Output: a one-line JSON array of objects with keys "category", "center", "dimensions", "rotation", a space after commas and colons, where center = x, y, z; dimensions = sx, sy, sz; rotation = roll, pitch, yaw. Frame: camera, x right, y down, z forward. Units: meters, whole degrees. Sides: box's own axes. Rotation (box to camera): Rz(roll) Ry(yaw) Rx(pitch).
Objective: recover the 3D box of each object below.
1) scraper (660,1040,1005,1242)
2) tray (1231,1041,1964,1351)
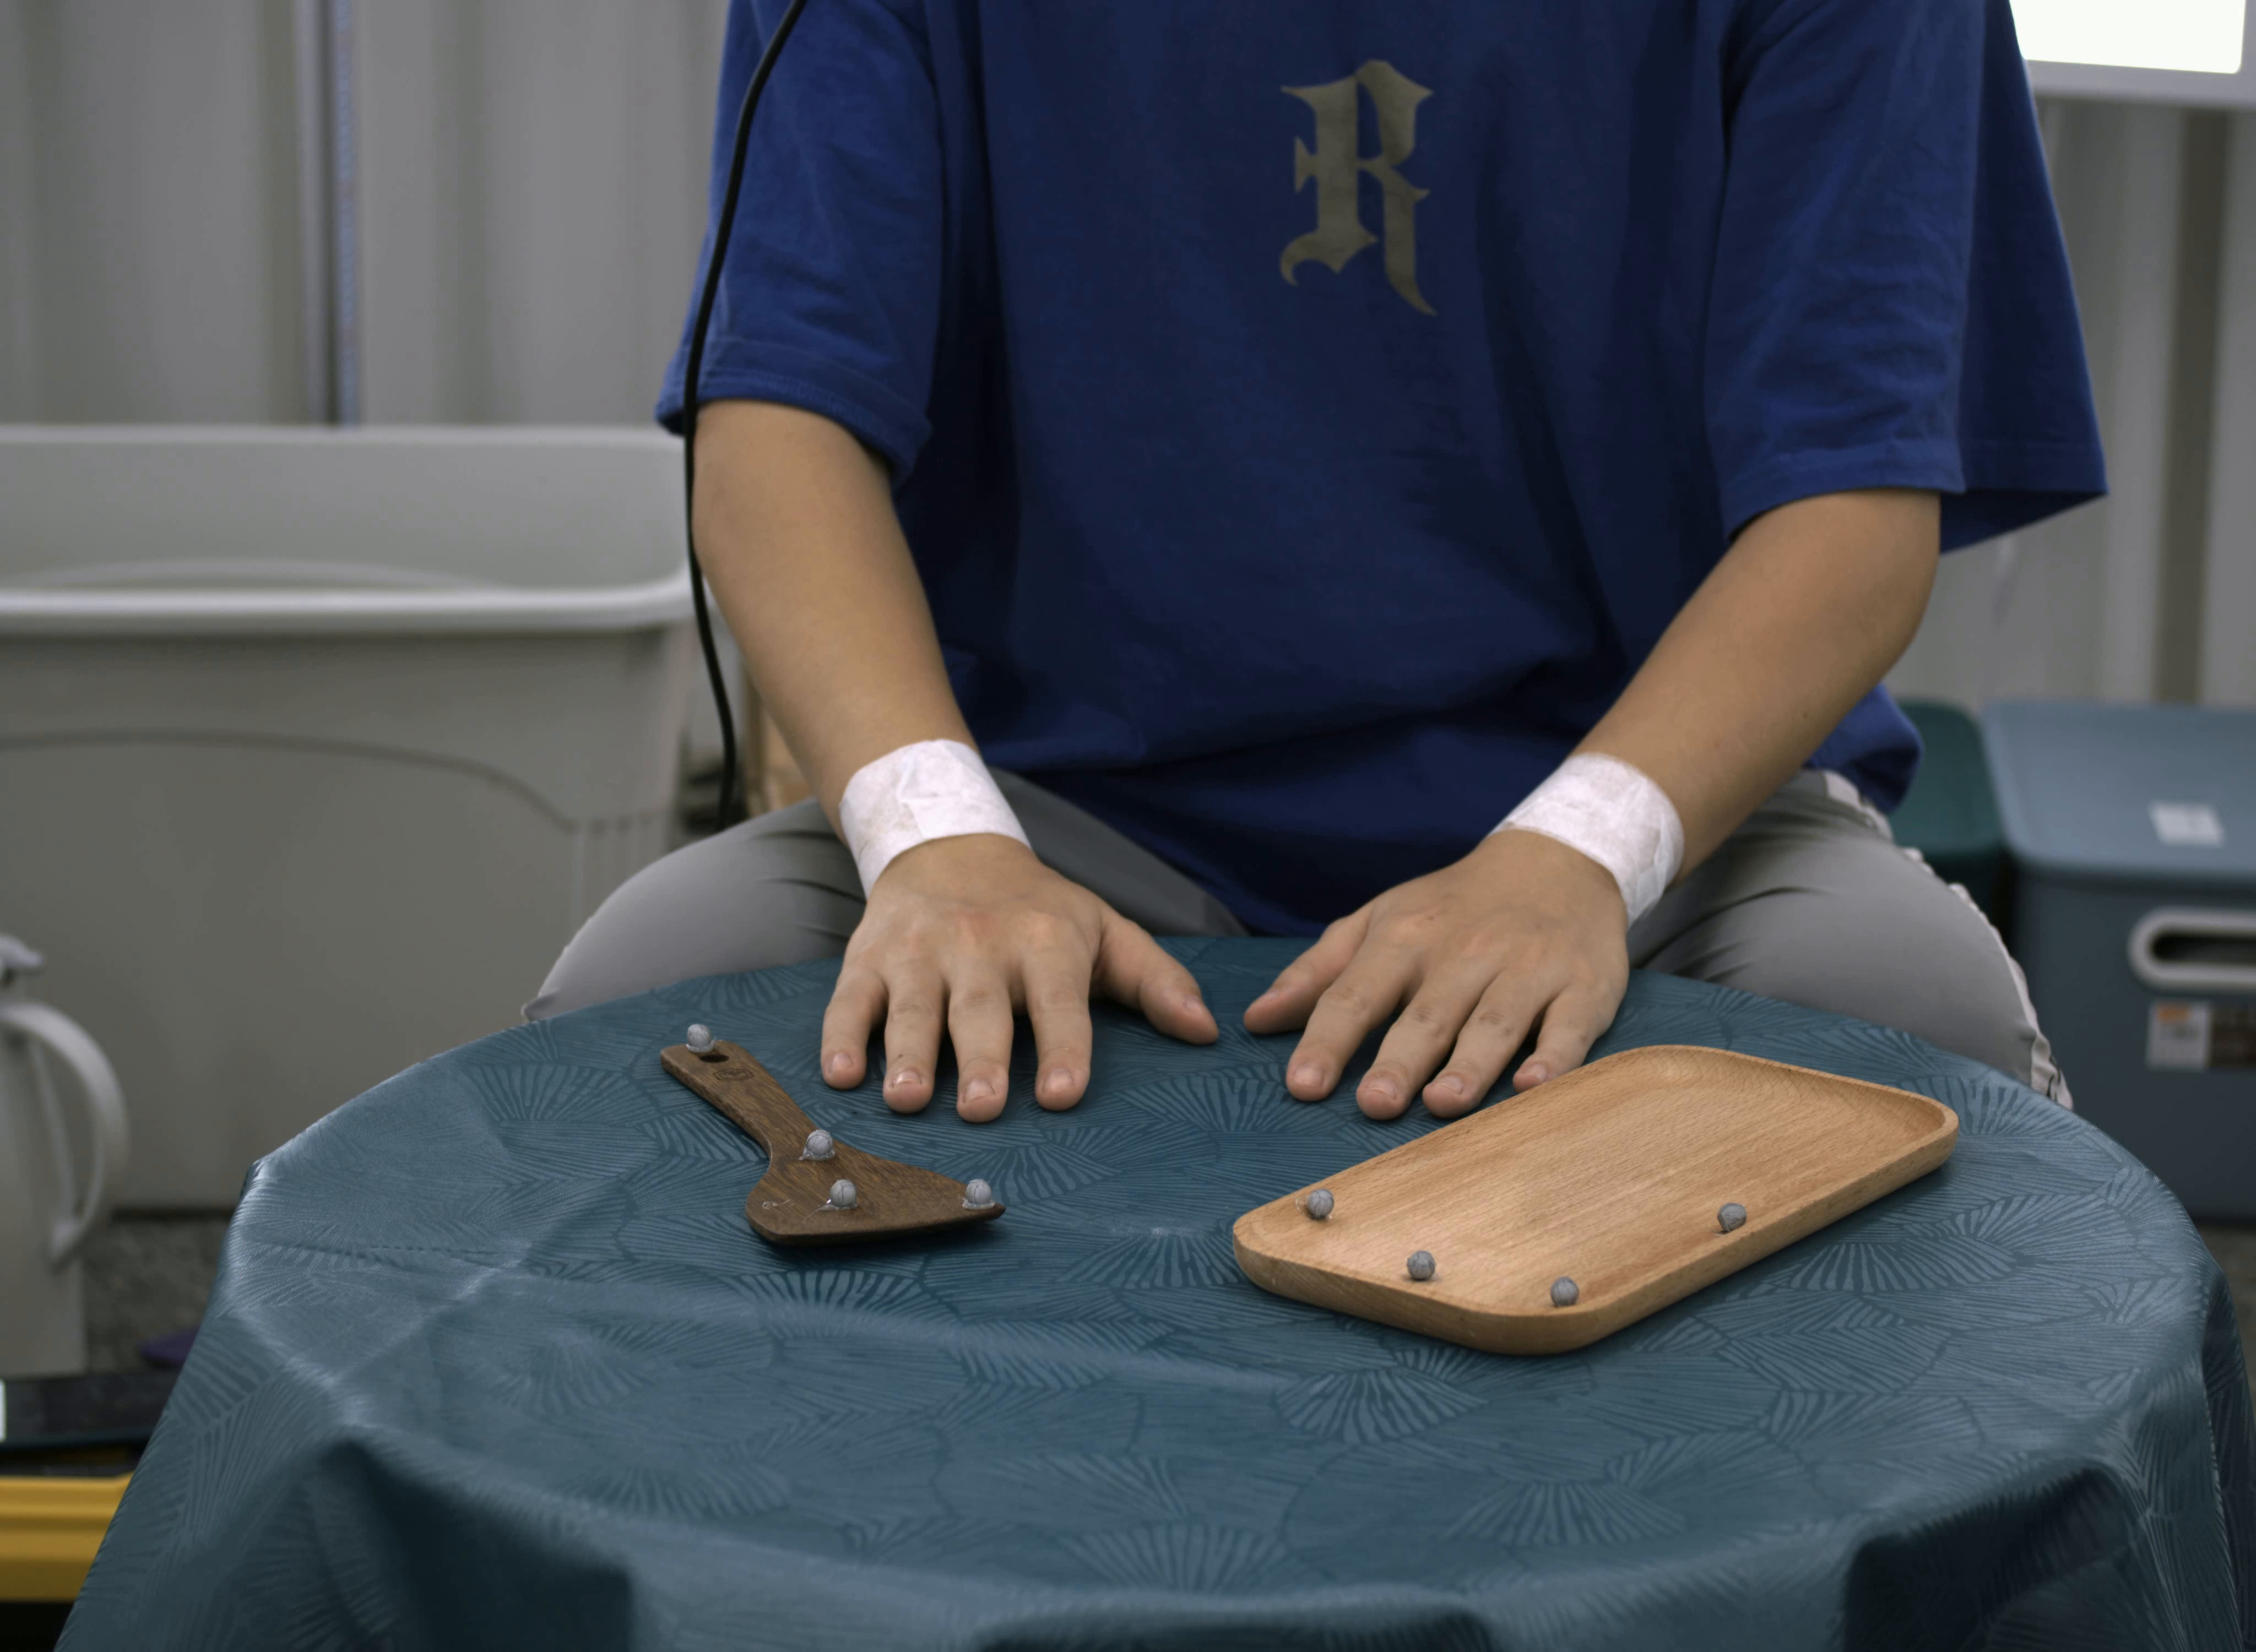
[{"category": "scraper", "center": [-0.106, 0.098, 1.654], "dimensions": [0.076, 0.011, 0.209], "rotation": [-4, 15, -21]}, {"category": "tray", "center": [0.146, 0.110, 1.604], "dimensions": [0.129, 0.023, 0.252], "rotation": [16, 21, 36]}]
